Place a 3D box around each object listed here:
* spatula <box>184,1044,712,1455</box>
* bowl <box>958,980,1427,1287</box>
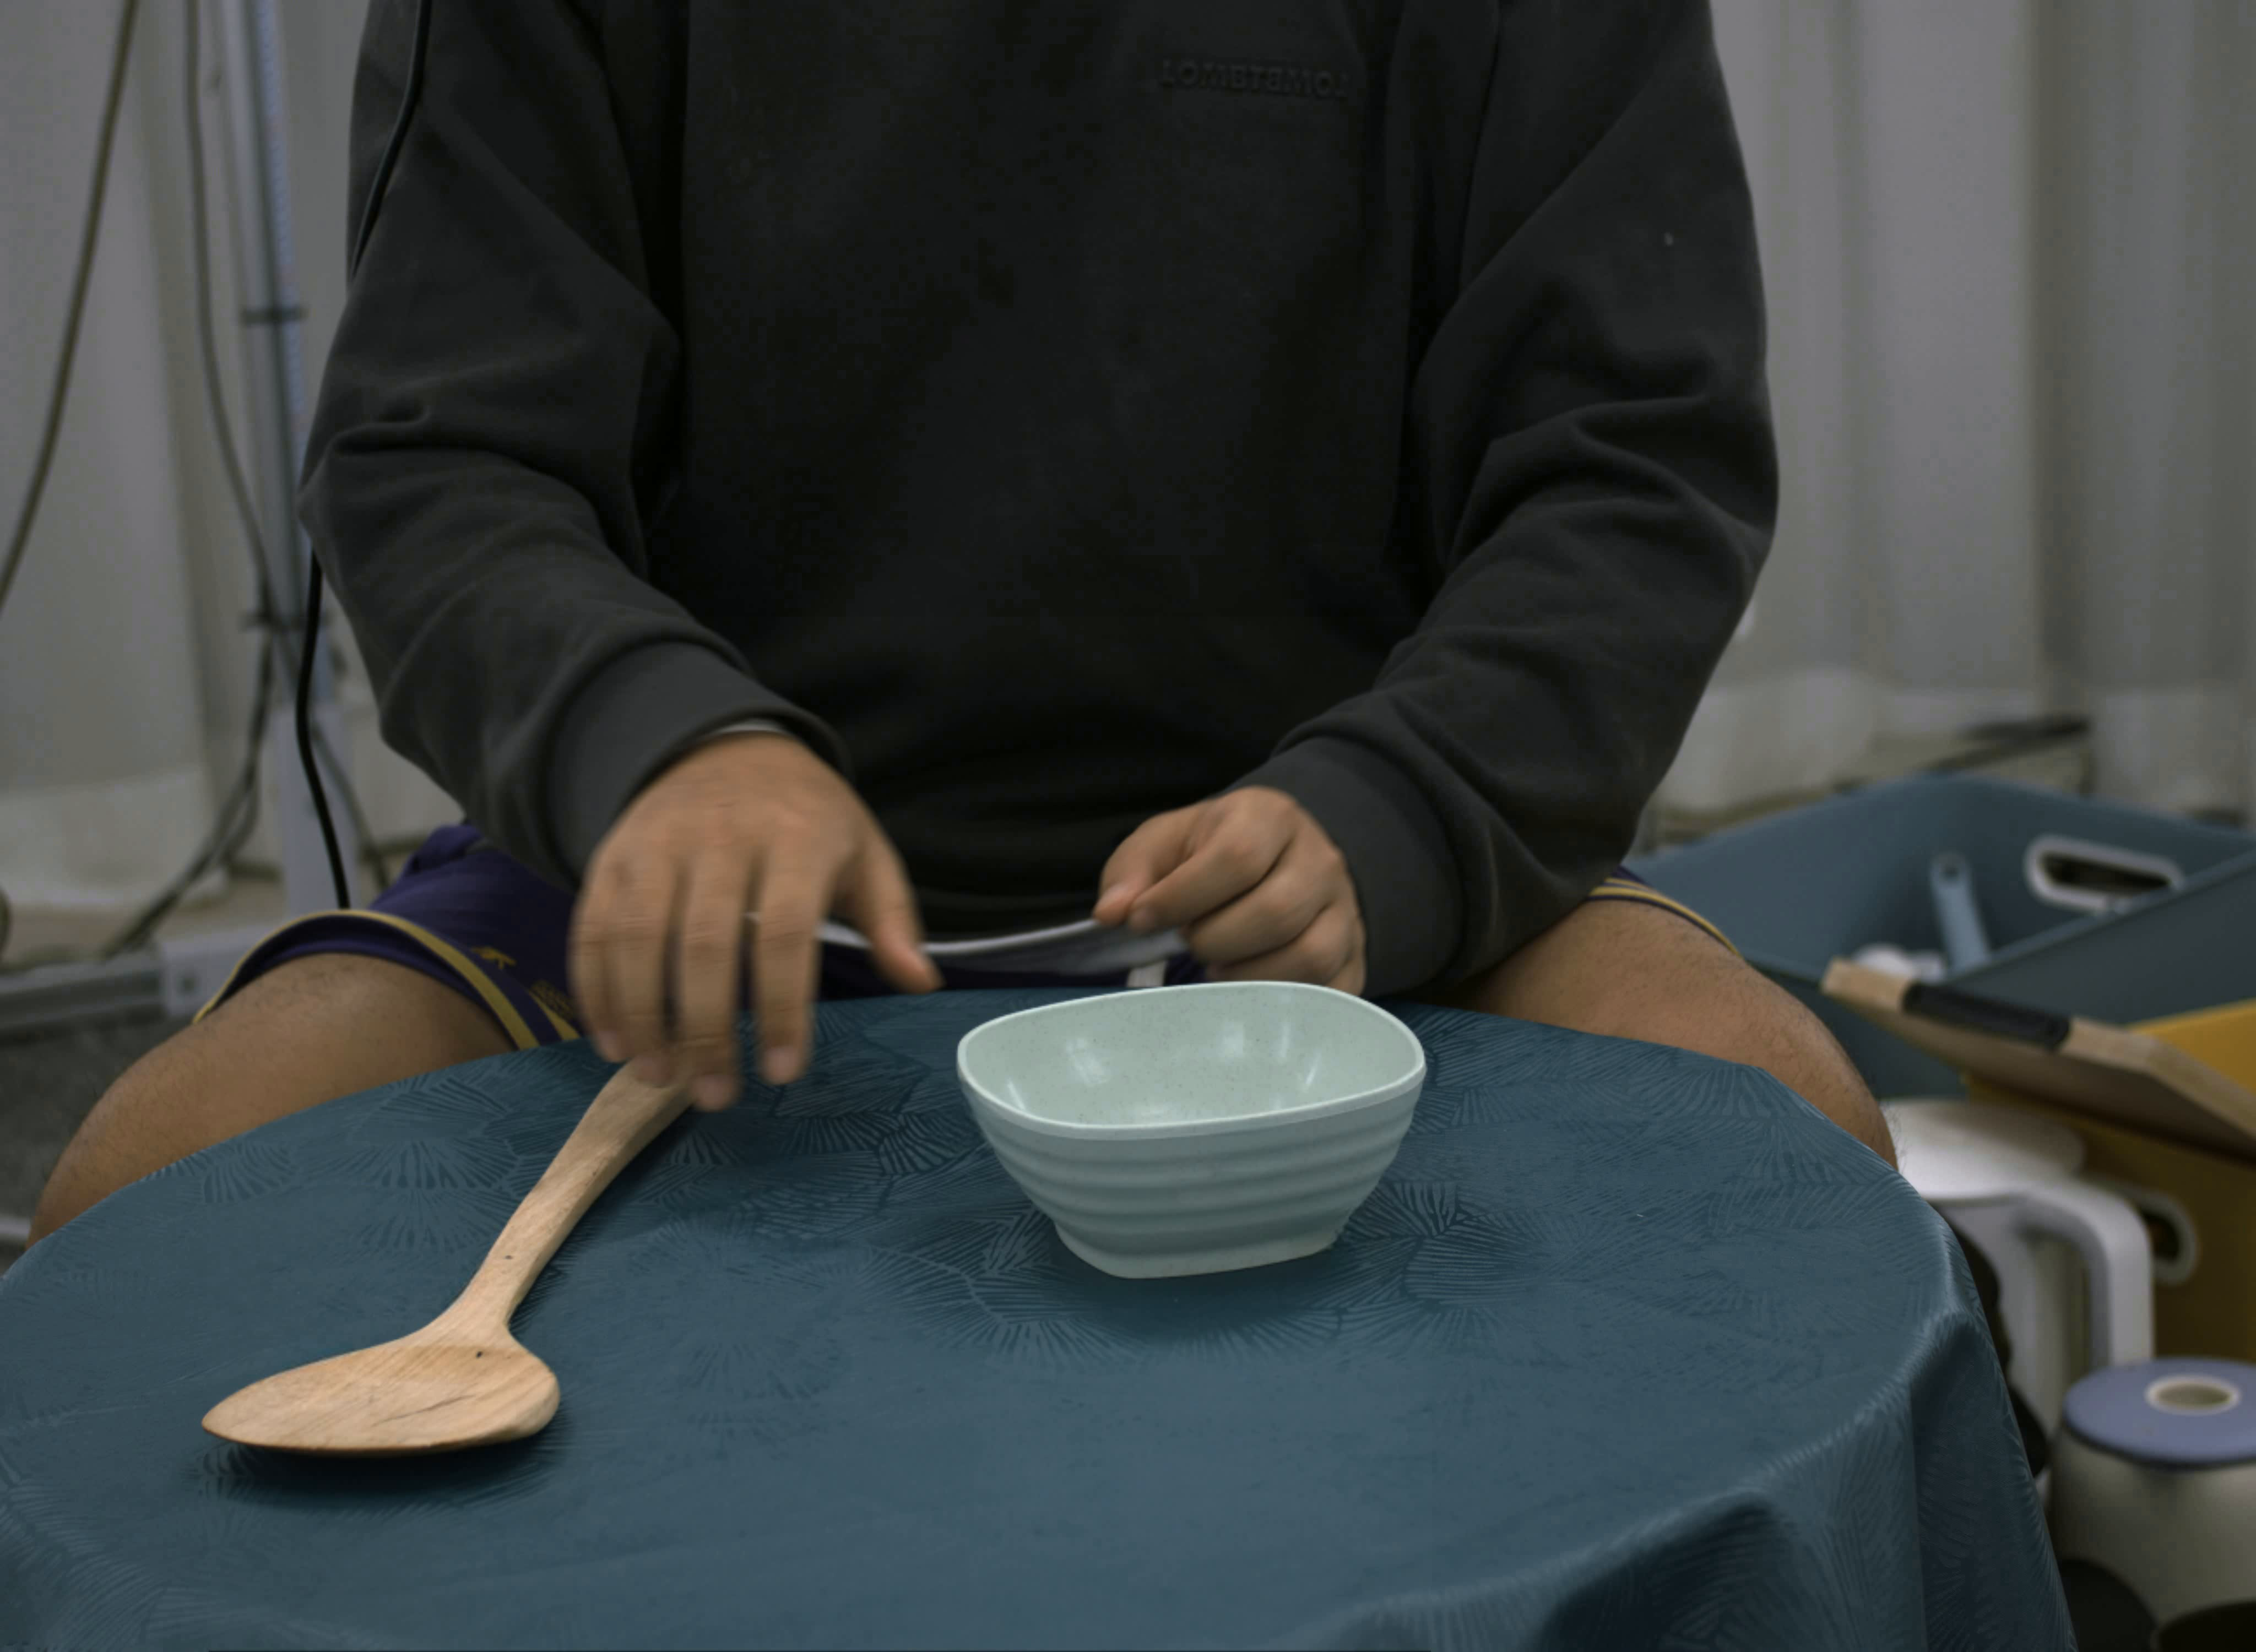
[{"bbox_3d":[-0.187,0.125,1.681,0.095,0.018,0.393,1,16,9],"label":"spatula"},{"bbox_3d":[0.020,0.097,1.673,0.151,0.058,0.152,-2,16,0],"label":"bowl"}]
